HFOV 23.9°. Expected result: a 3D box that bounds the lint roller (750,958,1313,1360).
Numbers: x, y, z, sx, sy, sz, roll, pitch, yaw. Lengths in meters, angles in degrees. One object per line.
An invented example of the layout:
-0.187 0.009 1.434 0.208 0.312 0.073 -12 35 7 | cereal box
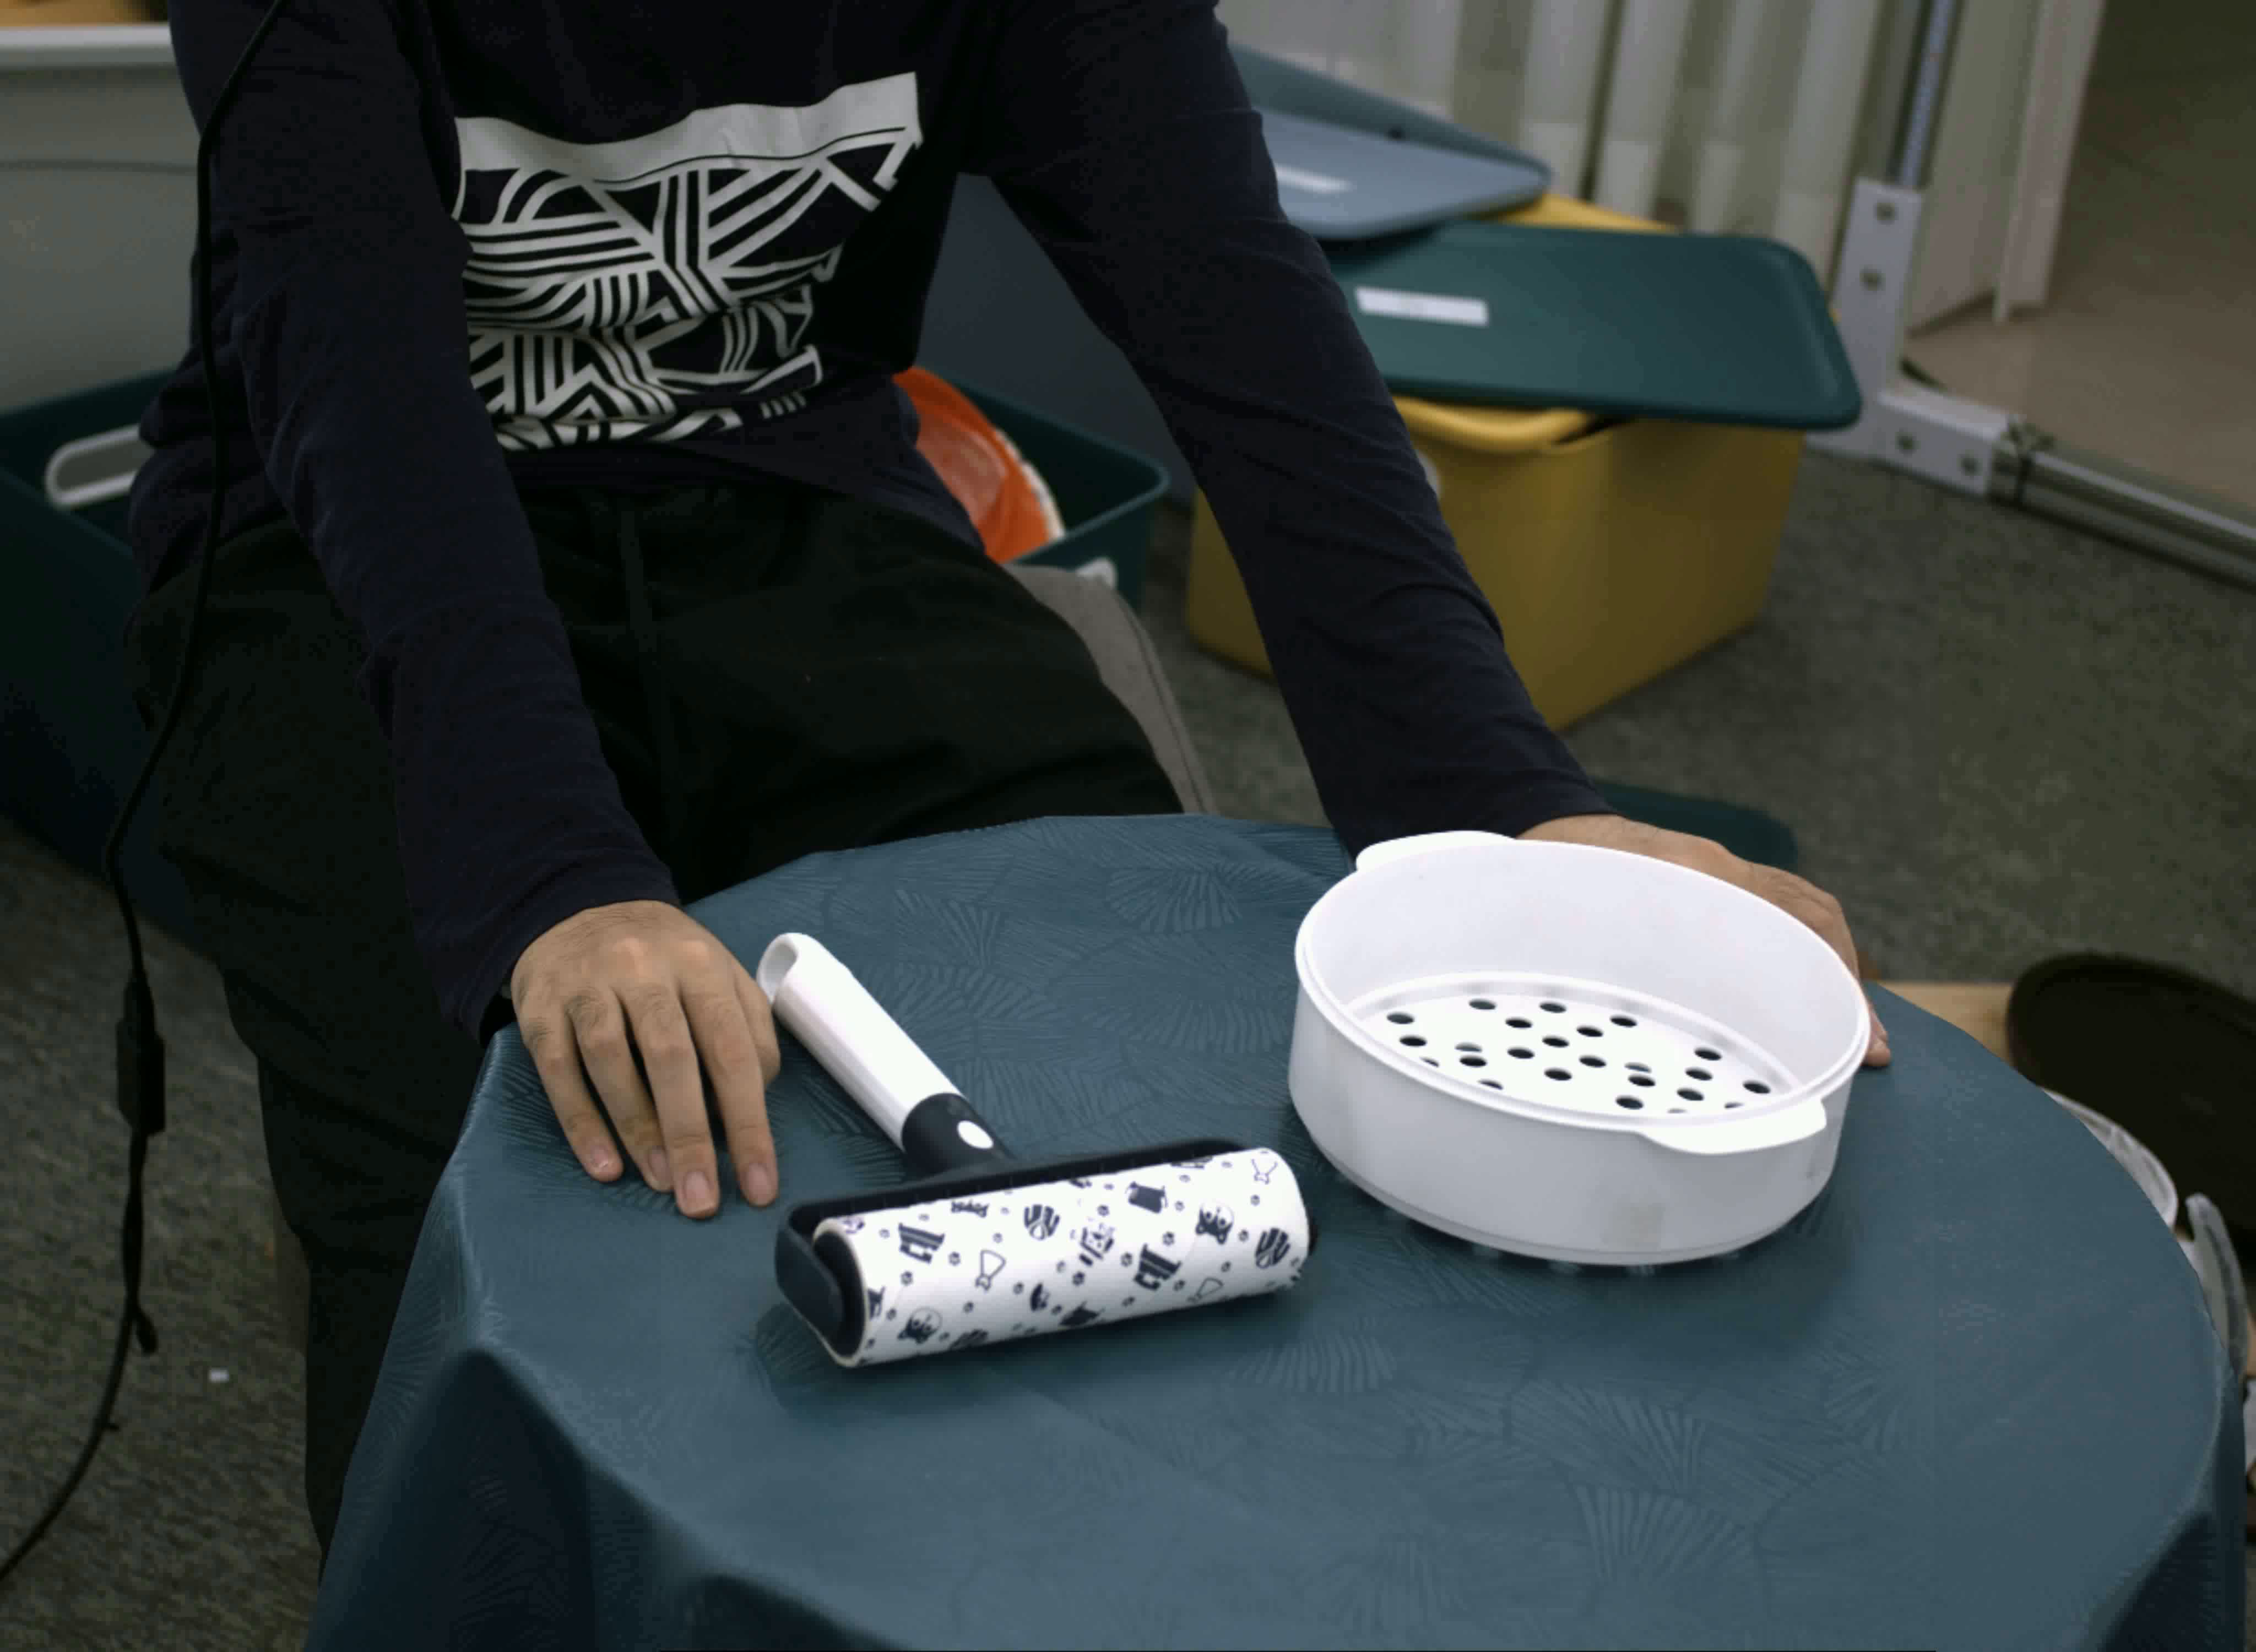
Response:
-0.071 0.097 1.799 0.175 0.050 0.249 -9 28 -27 | lint roller

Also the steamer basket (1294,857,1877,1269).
0.156 0.083 1.850 0.200 0.069 0.232 -7 27 -27 | steamer basket
